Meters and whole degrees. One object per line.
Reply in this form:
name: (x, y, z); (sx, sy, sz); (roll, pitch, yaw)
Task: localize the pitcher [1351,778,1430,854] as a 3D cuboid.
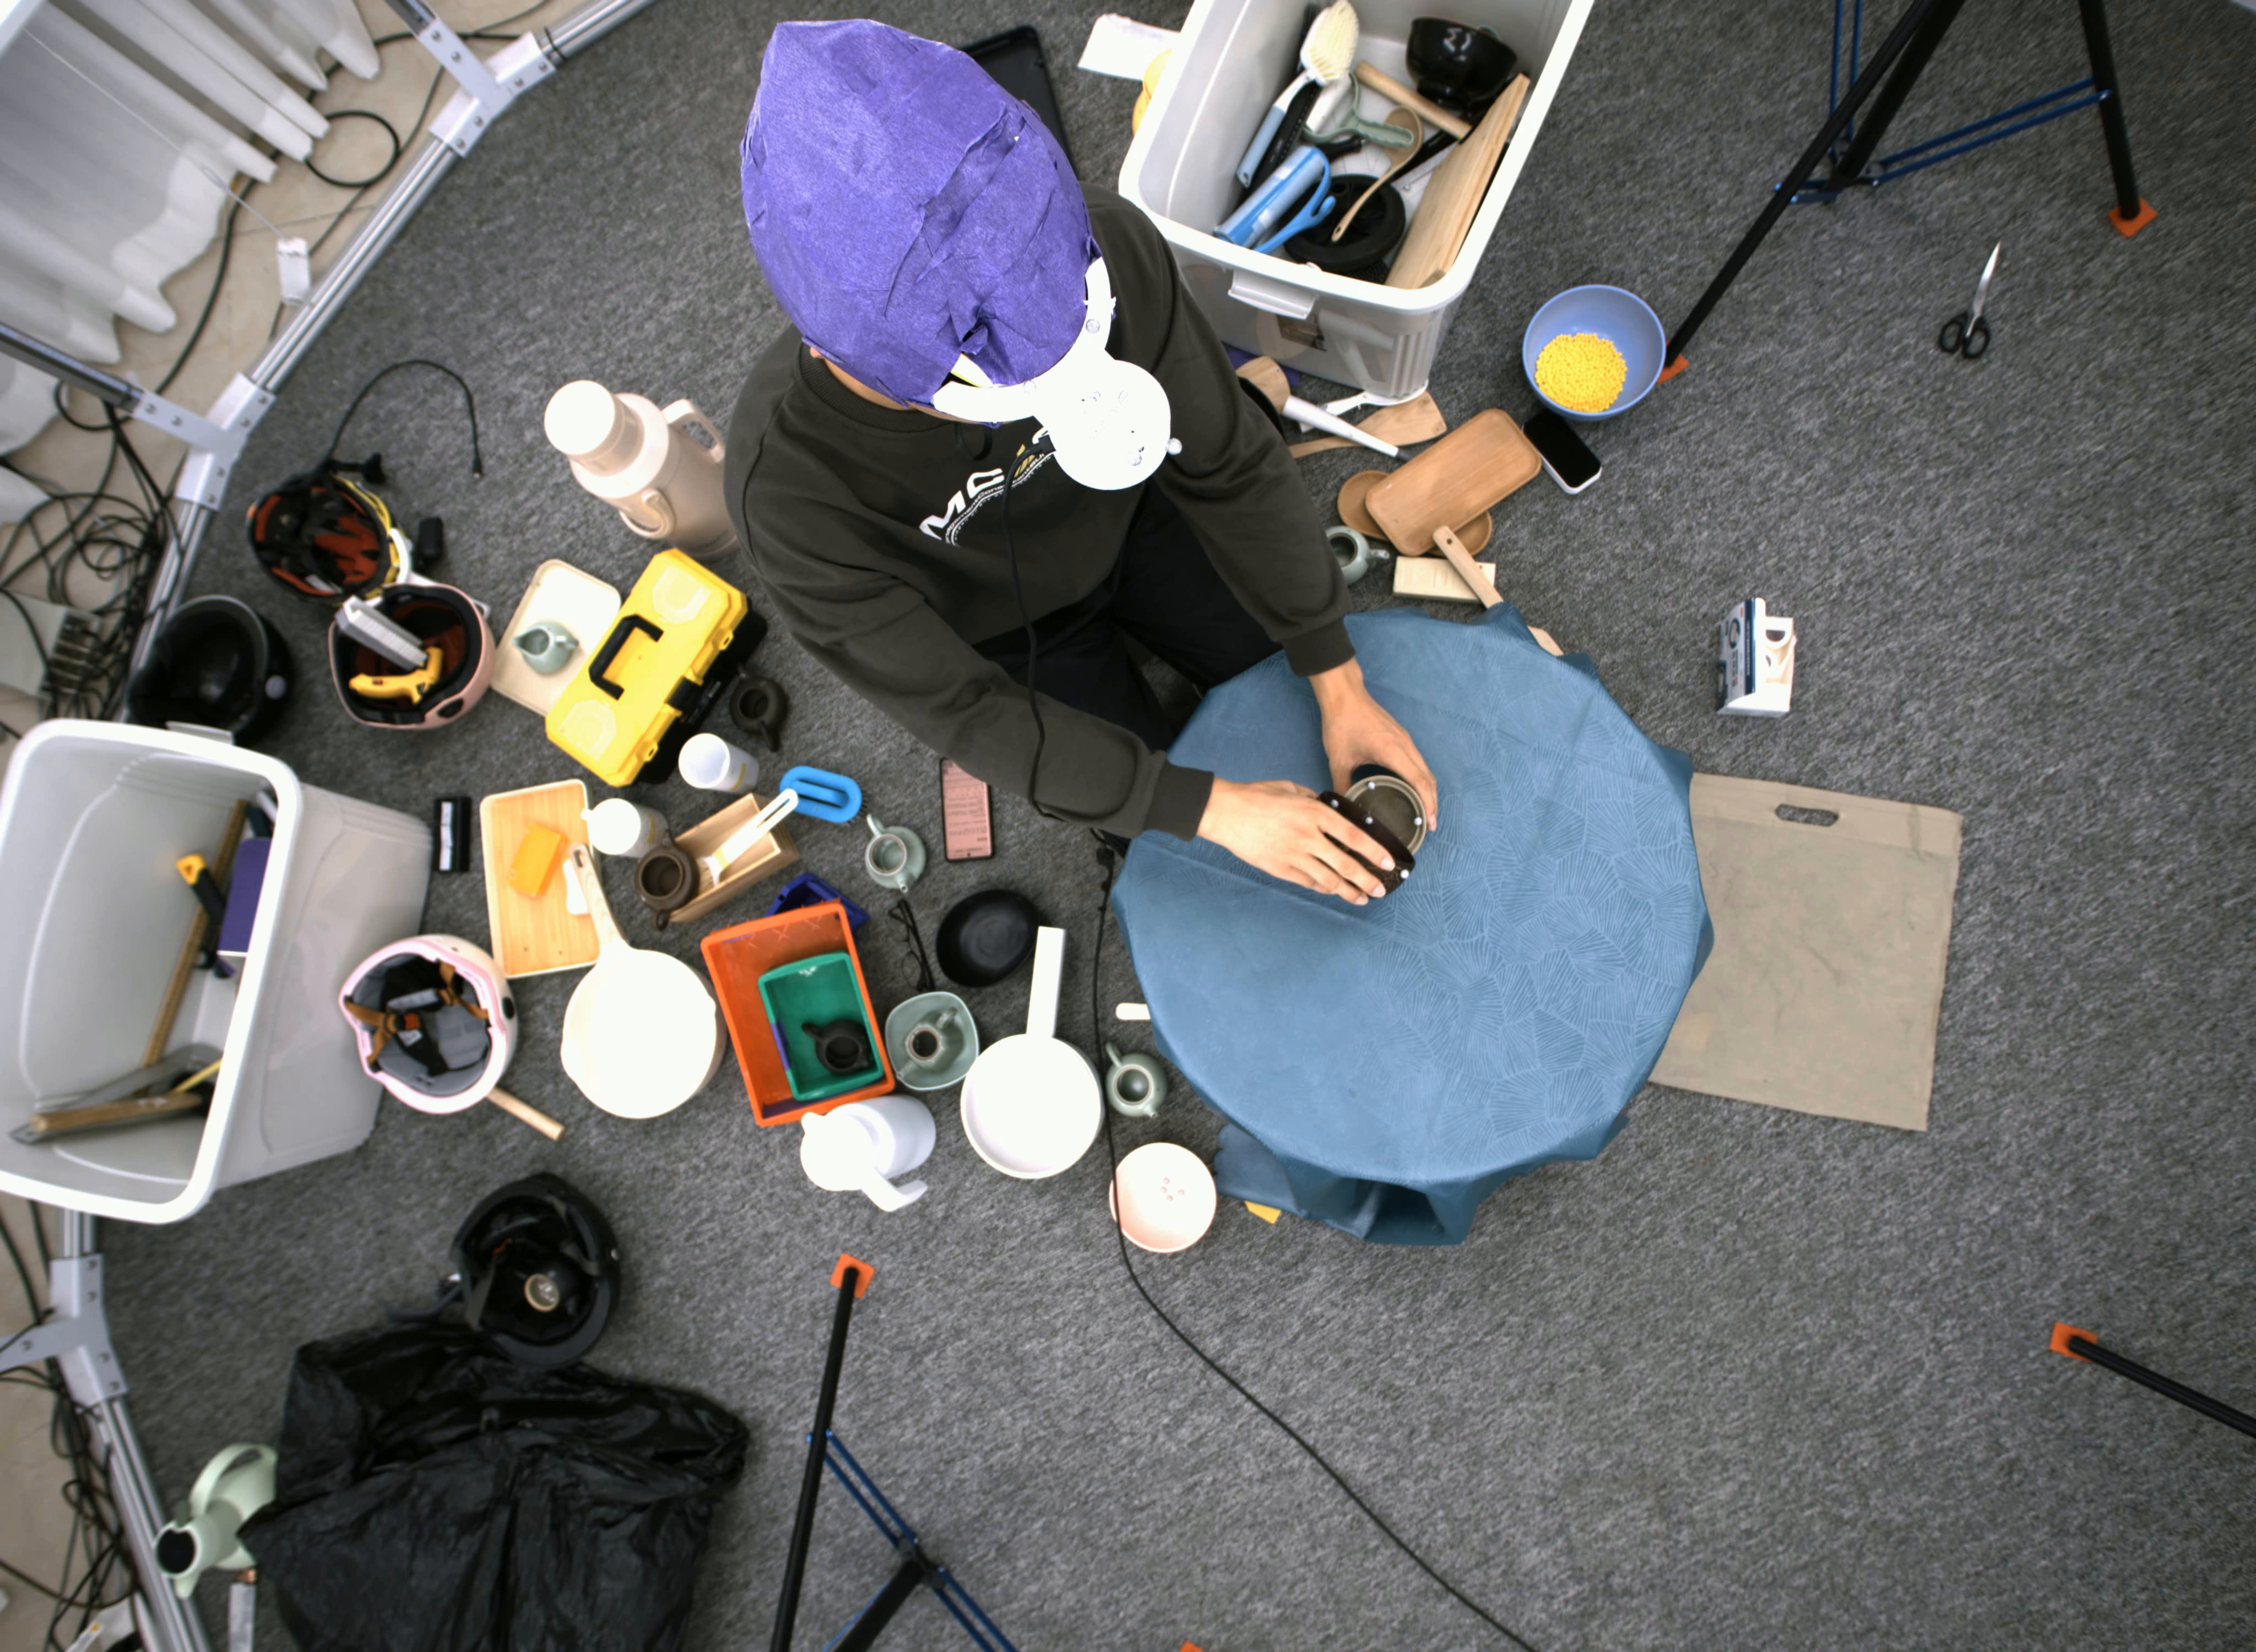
pitcher: (0.268, -0.008, 1.423); (0.098, 0.070, 0.083); (-42, 85, 25)

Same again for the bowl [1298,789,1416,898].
bowl: (0.217, 0.025, 1.356); (0.117, 0.116, 0.071); (39, 111, 11)
